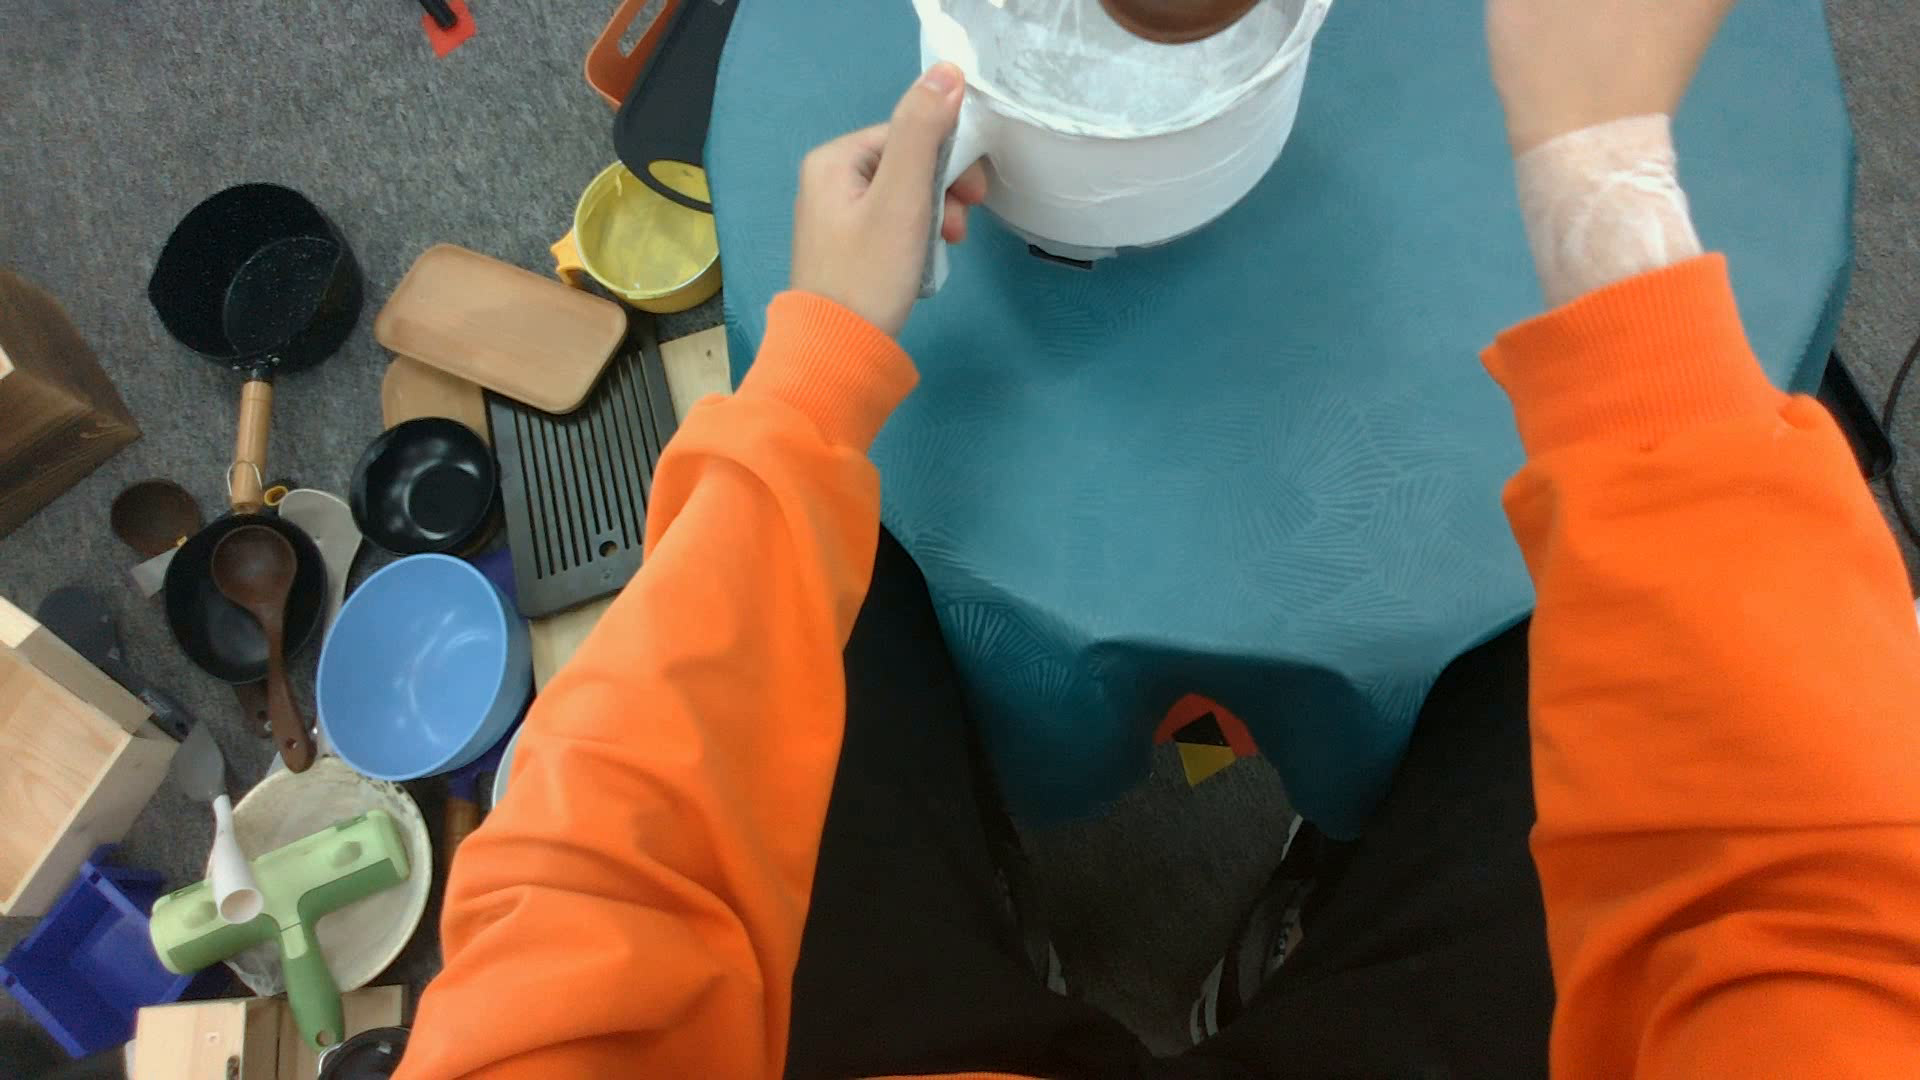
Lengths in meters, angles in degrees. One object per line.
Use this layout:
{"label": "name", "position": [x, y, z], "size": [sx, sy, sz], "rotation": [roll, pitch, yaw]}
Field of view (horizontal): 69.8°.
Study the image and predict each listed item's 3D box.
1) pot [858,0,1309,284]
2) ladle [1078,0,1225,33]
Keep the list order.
{"label": "pot", "position": [0.044, -0.216, 0.621], "size": [0.179, 0.136, 0.234], "rotation": [43, 82, 12]}
{"label": "ladle", "position": [0.139, -0.238, 0.448], "size": [0.065, 0.259, 0.076], "rotation": [-21, 100, -41]}
